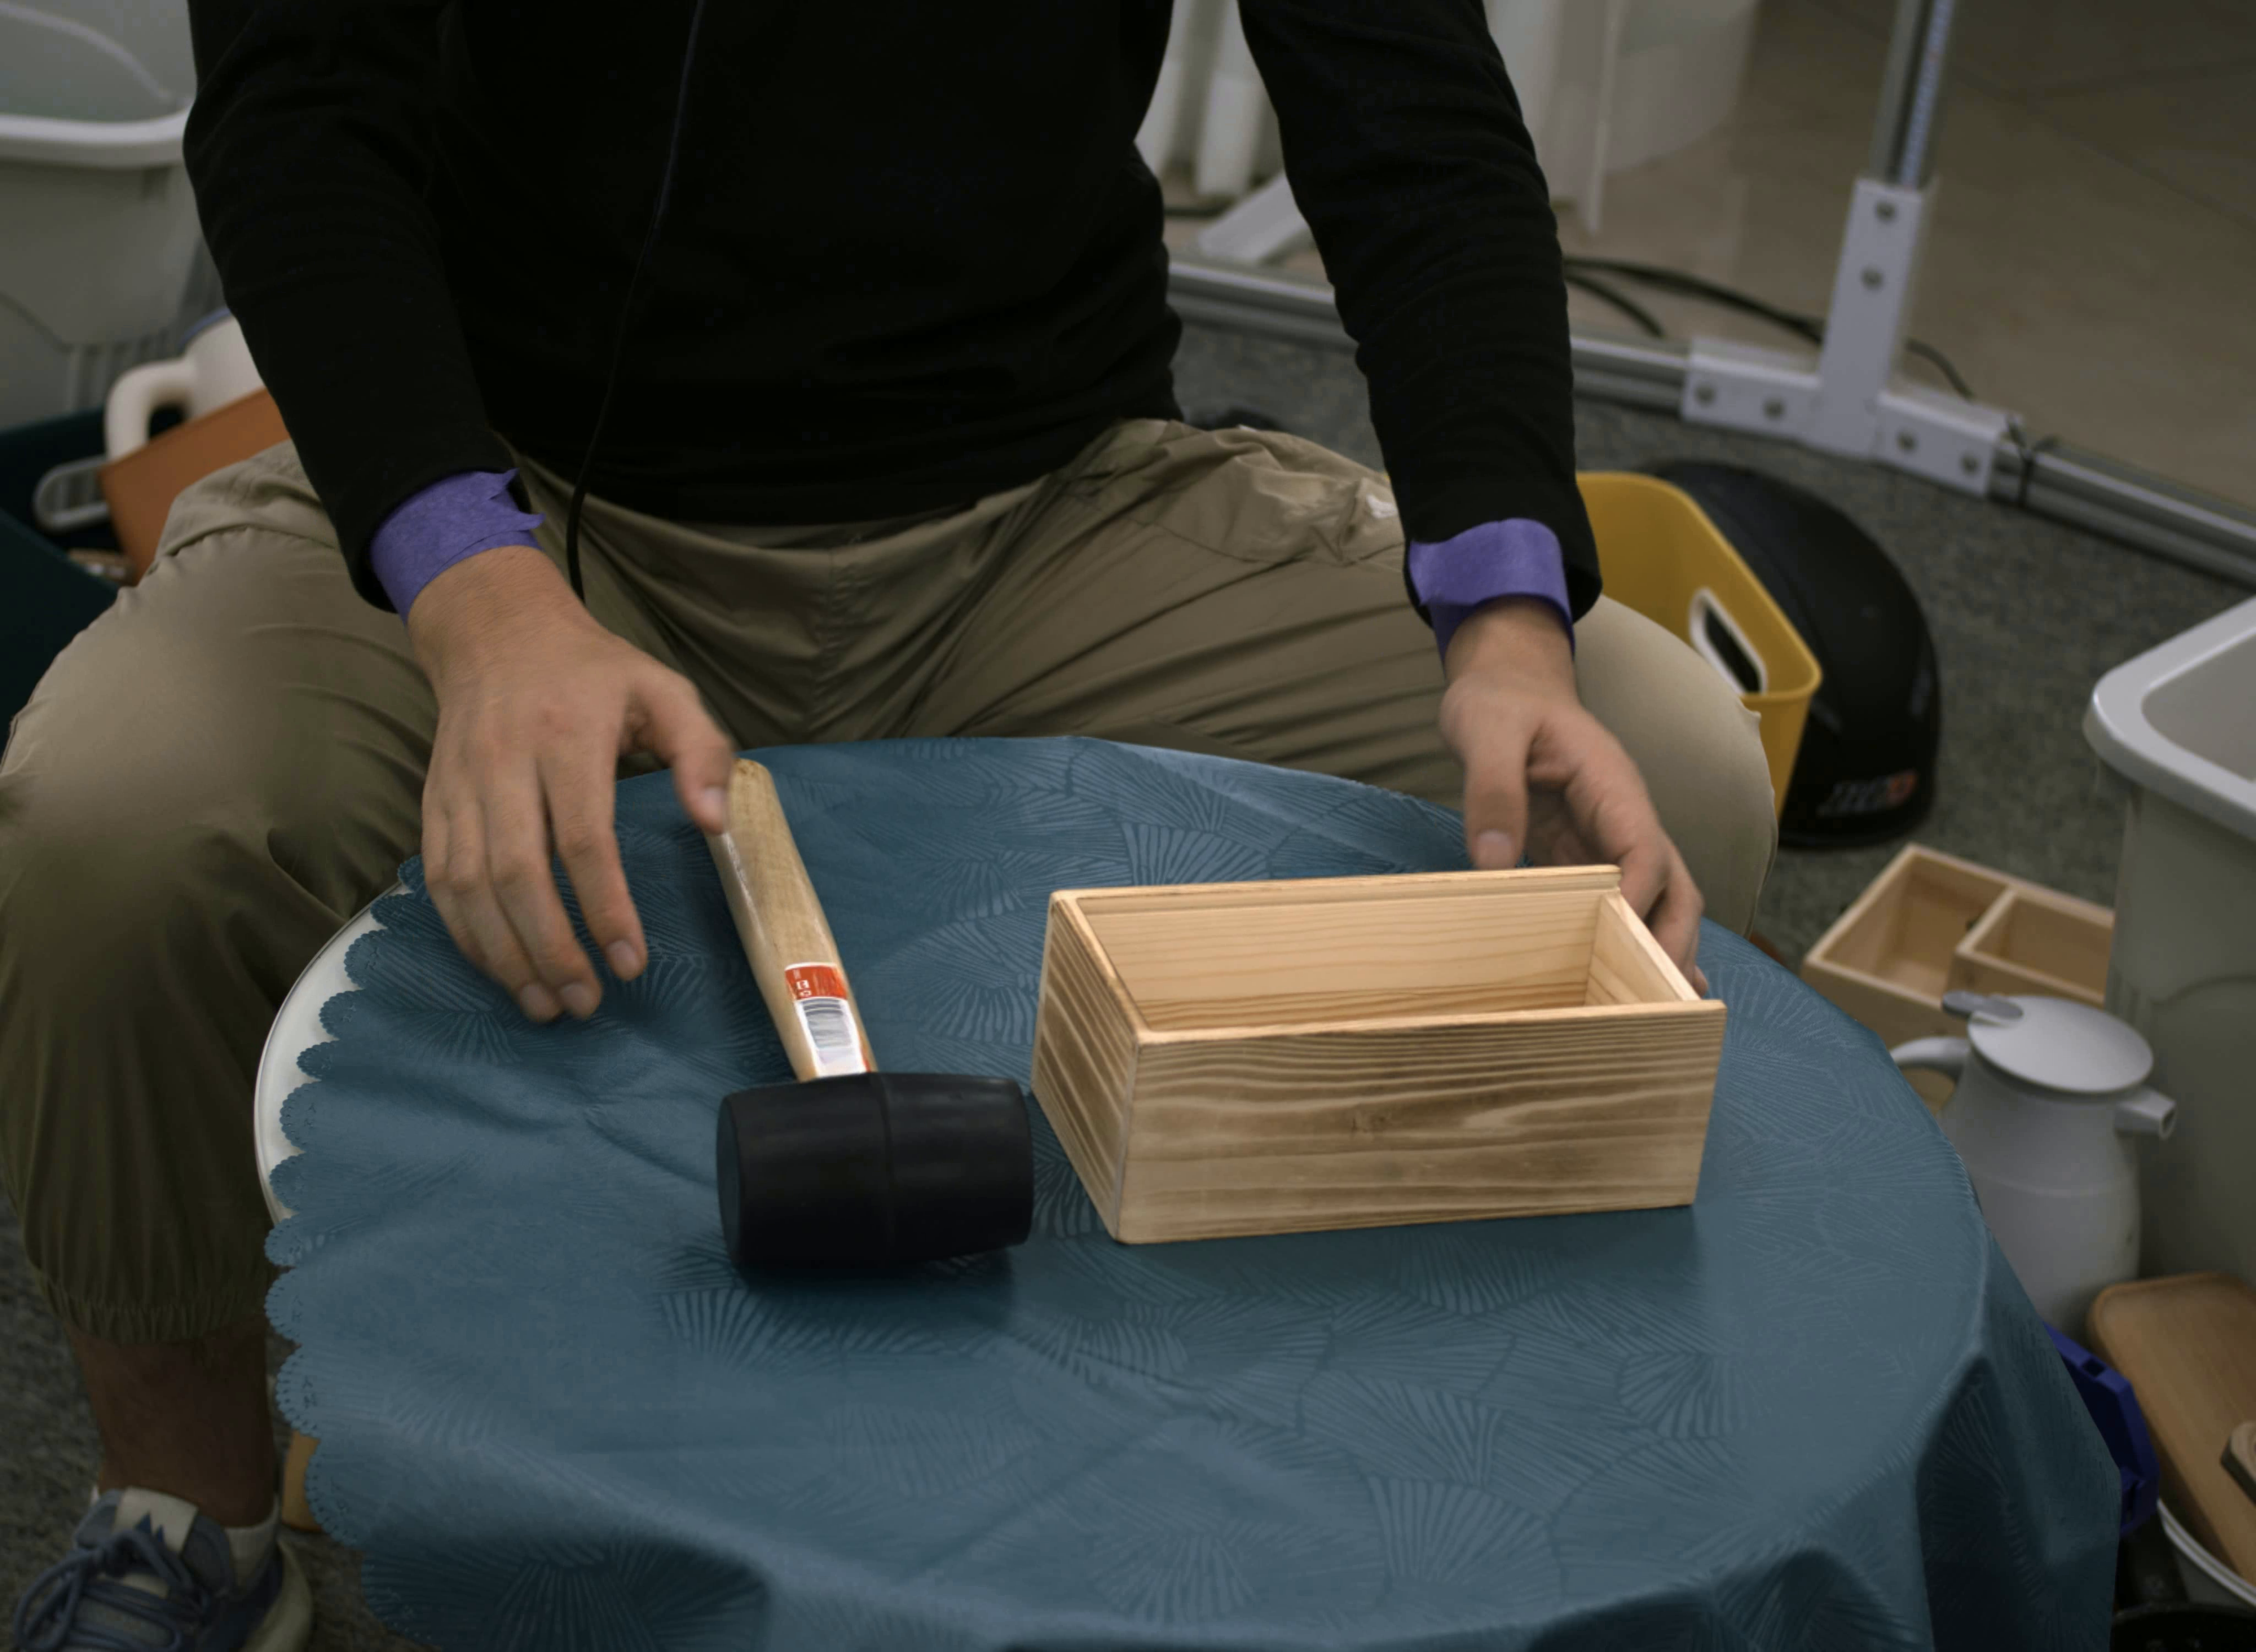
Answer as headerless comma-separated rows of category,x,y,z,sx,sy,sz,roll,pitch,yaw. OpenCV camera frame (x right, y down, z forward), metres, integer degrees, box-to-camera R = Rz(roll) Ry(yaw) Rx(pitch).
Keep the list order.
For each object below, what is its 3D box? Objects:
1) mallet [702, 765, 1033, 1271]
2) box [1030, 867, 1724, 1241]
mallet,-0.112,0.050,1.859,0.101,0.064,0.341,1,27,-13
box,0.083,0.077,1.829,0.210,0.080,0.108,-2,28,-17
